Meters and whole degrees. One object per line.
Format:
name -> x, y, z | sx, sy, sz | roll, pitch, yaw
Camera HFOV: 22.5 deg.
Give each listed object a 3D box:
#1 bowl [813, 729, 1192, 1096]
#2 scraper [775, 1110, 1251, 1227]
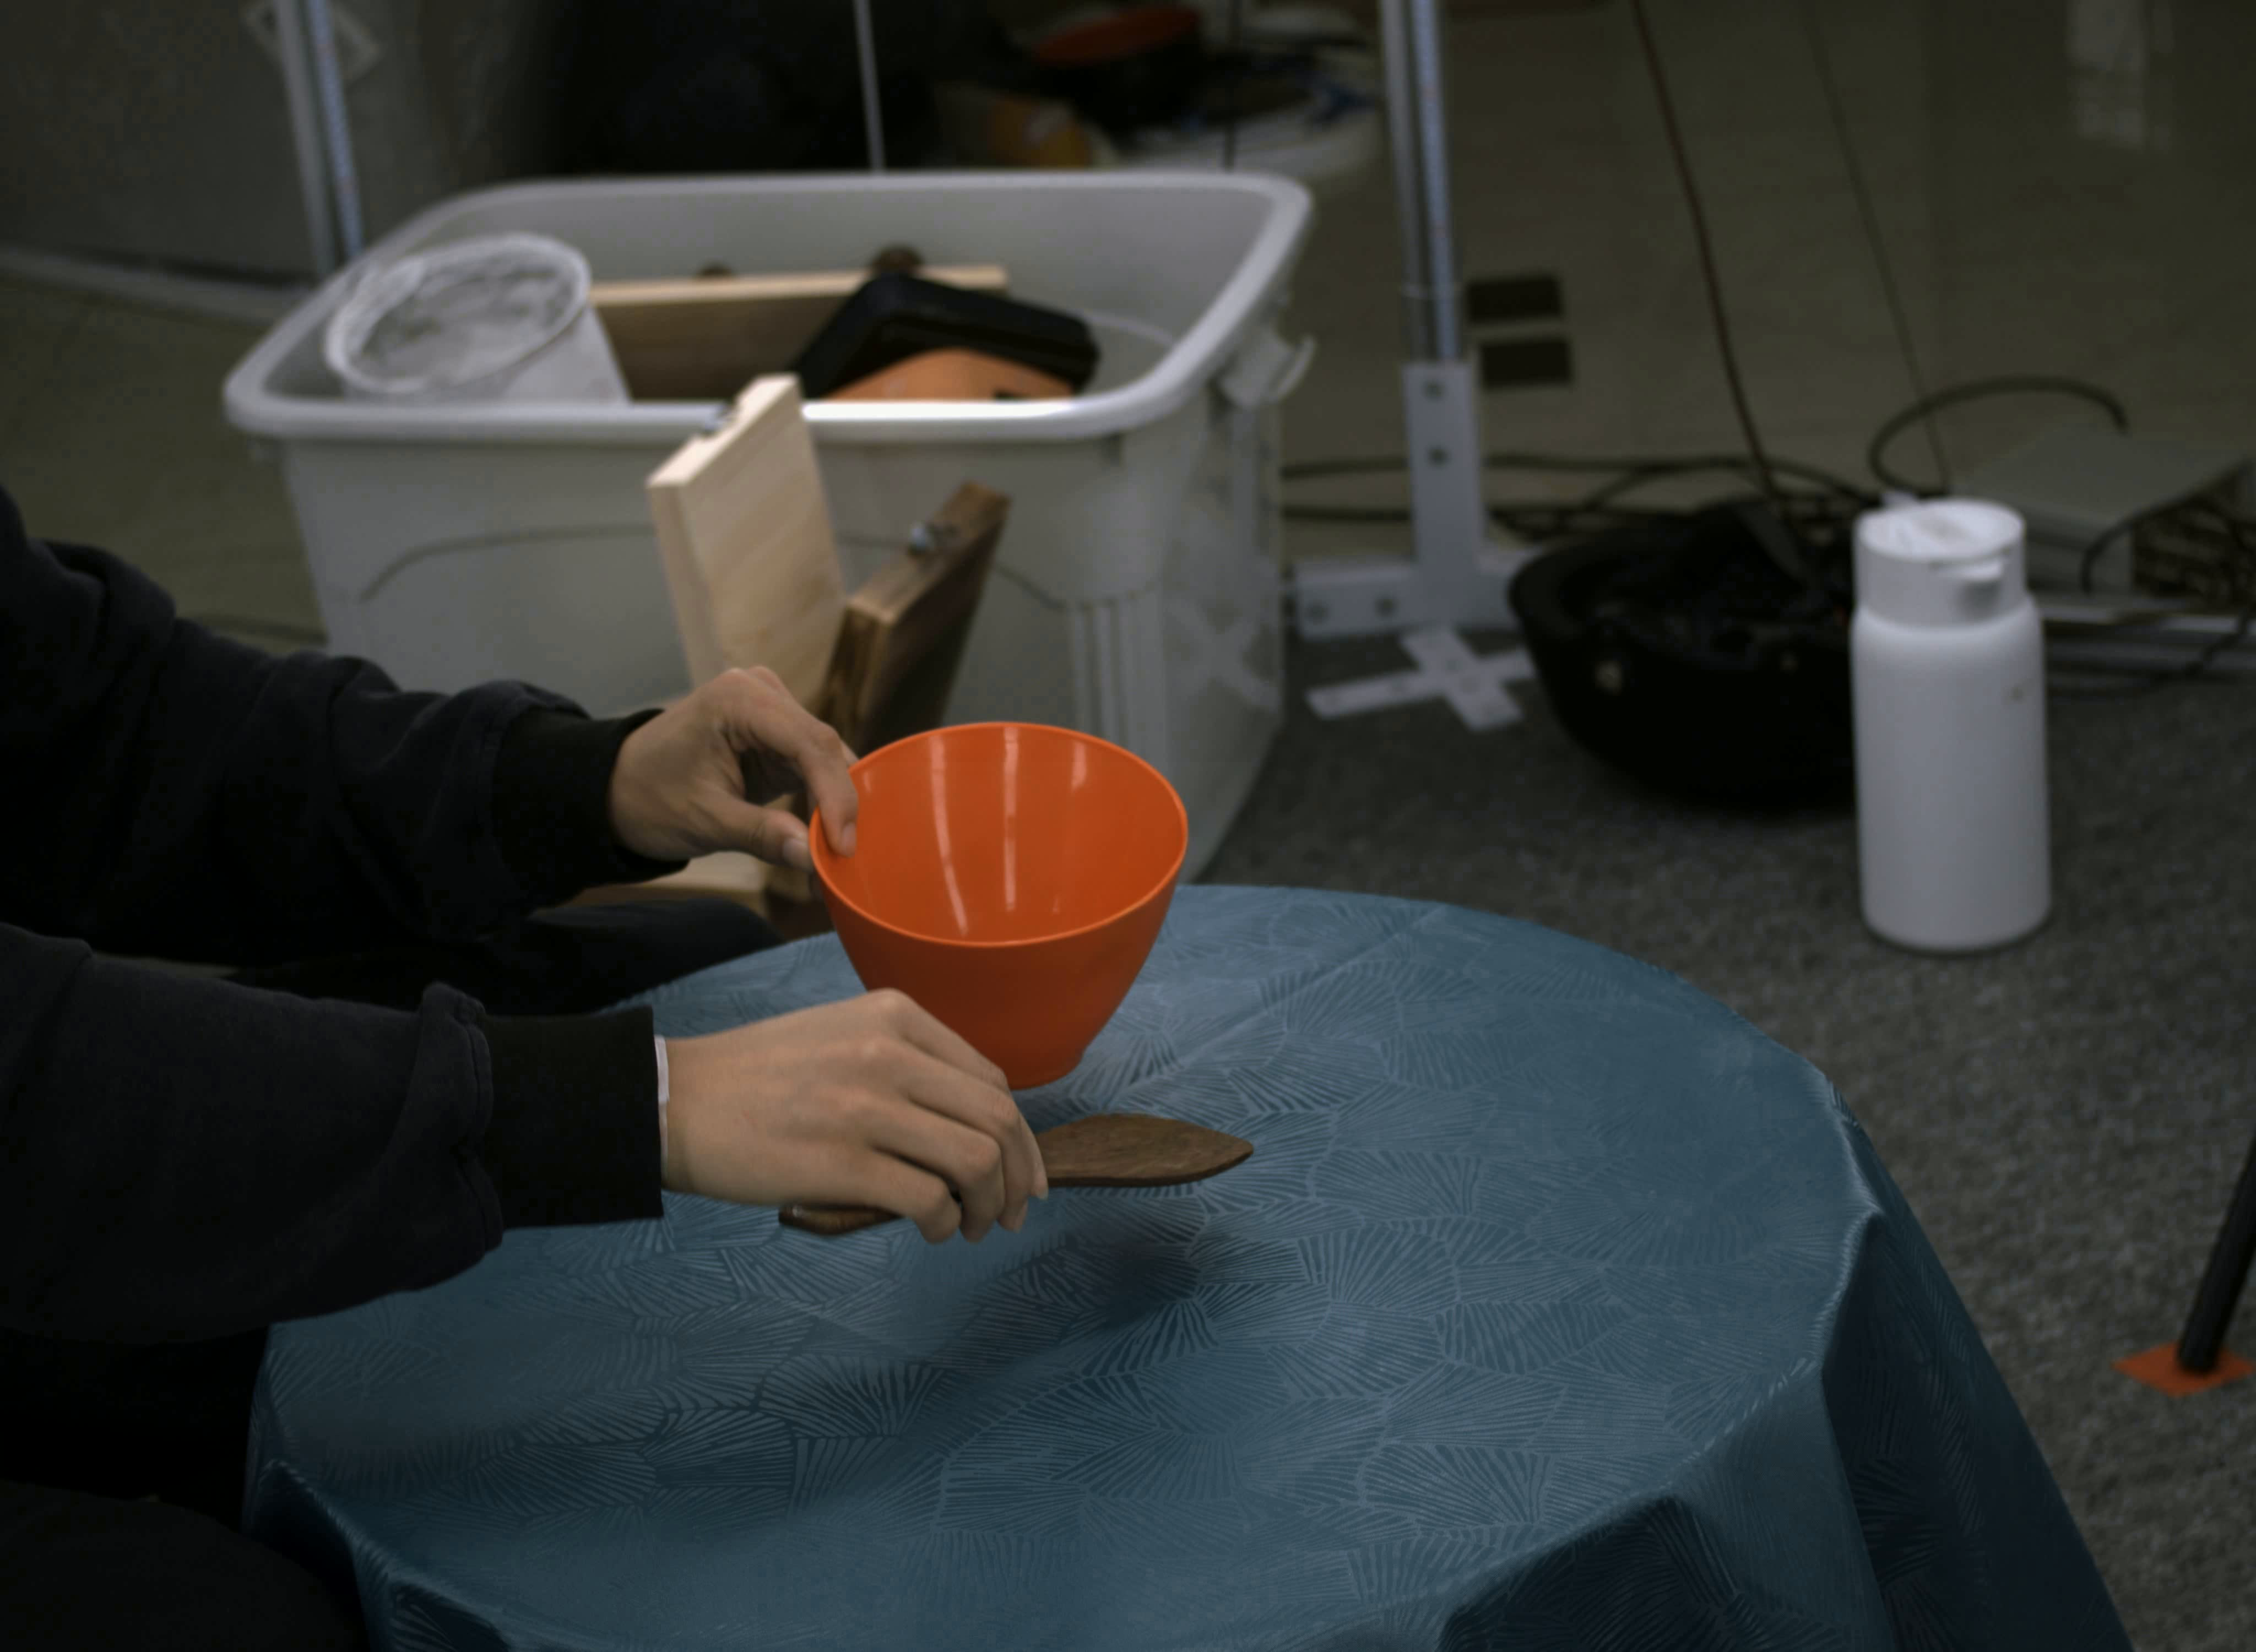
bowl -> -0.049, 0.040, 2.213 | 0.148, 0.106, 0.146 | 0, 26, 0
scraper -> -0.046, 0.125, 2.032 | 0.075, 0.011, 0.210 | 13, 14, 40
